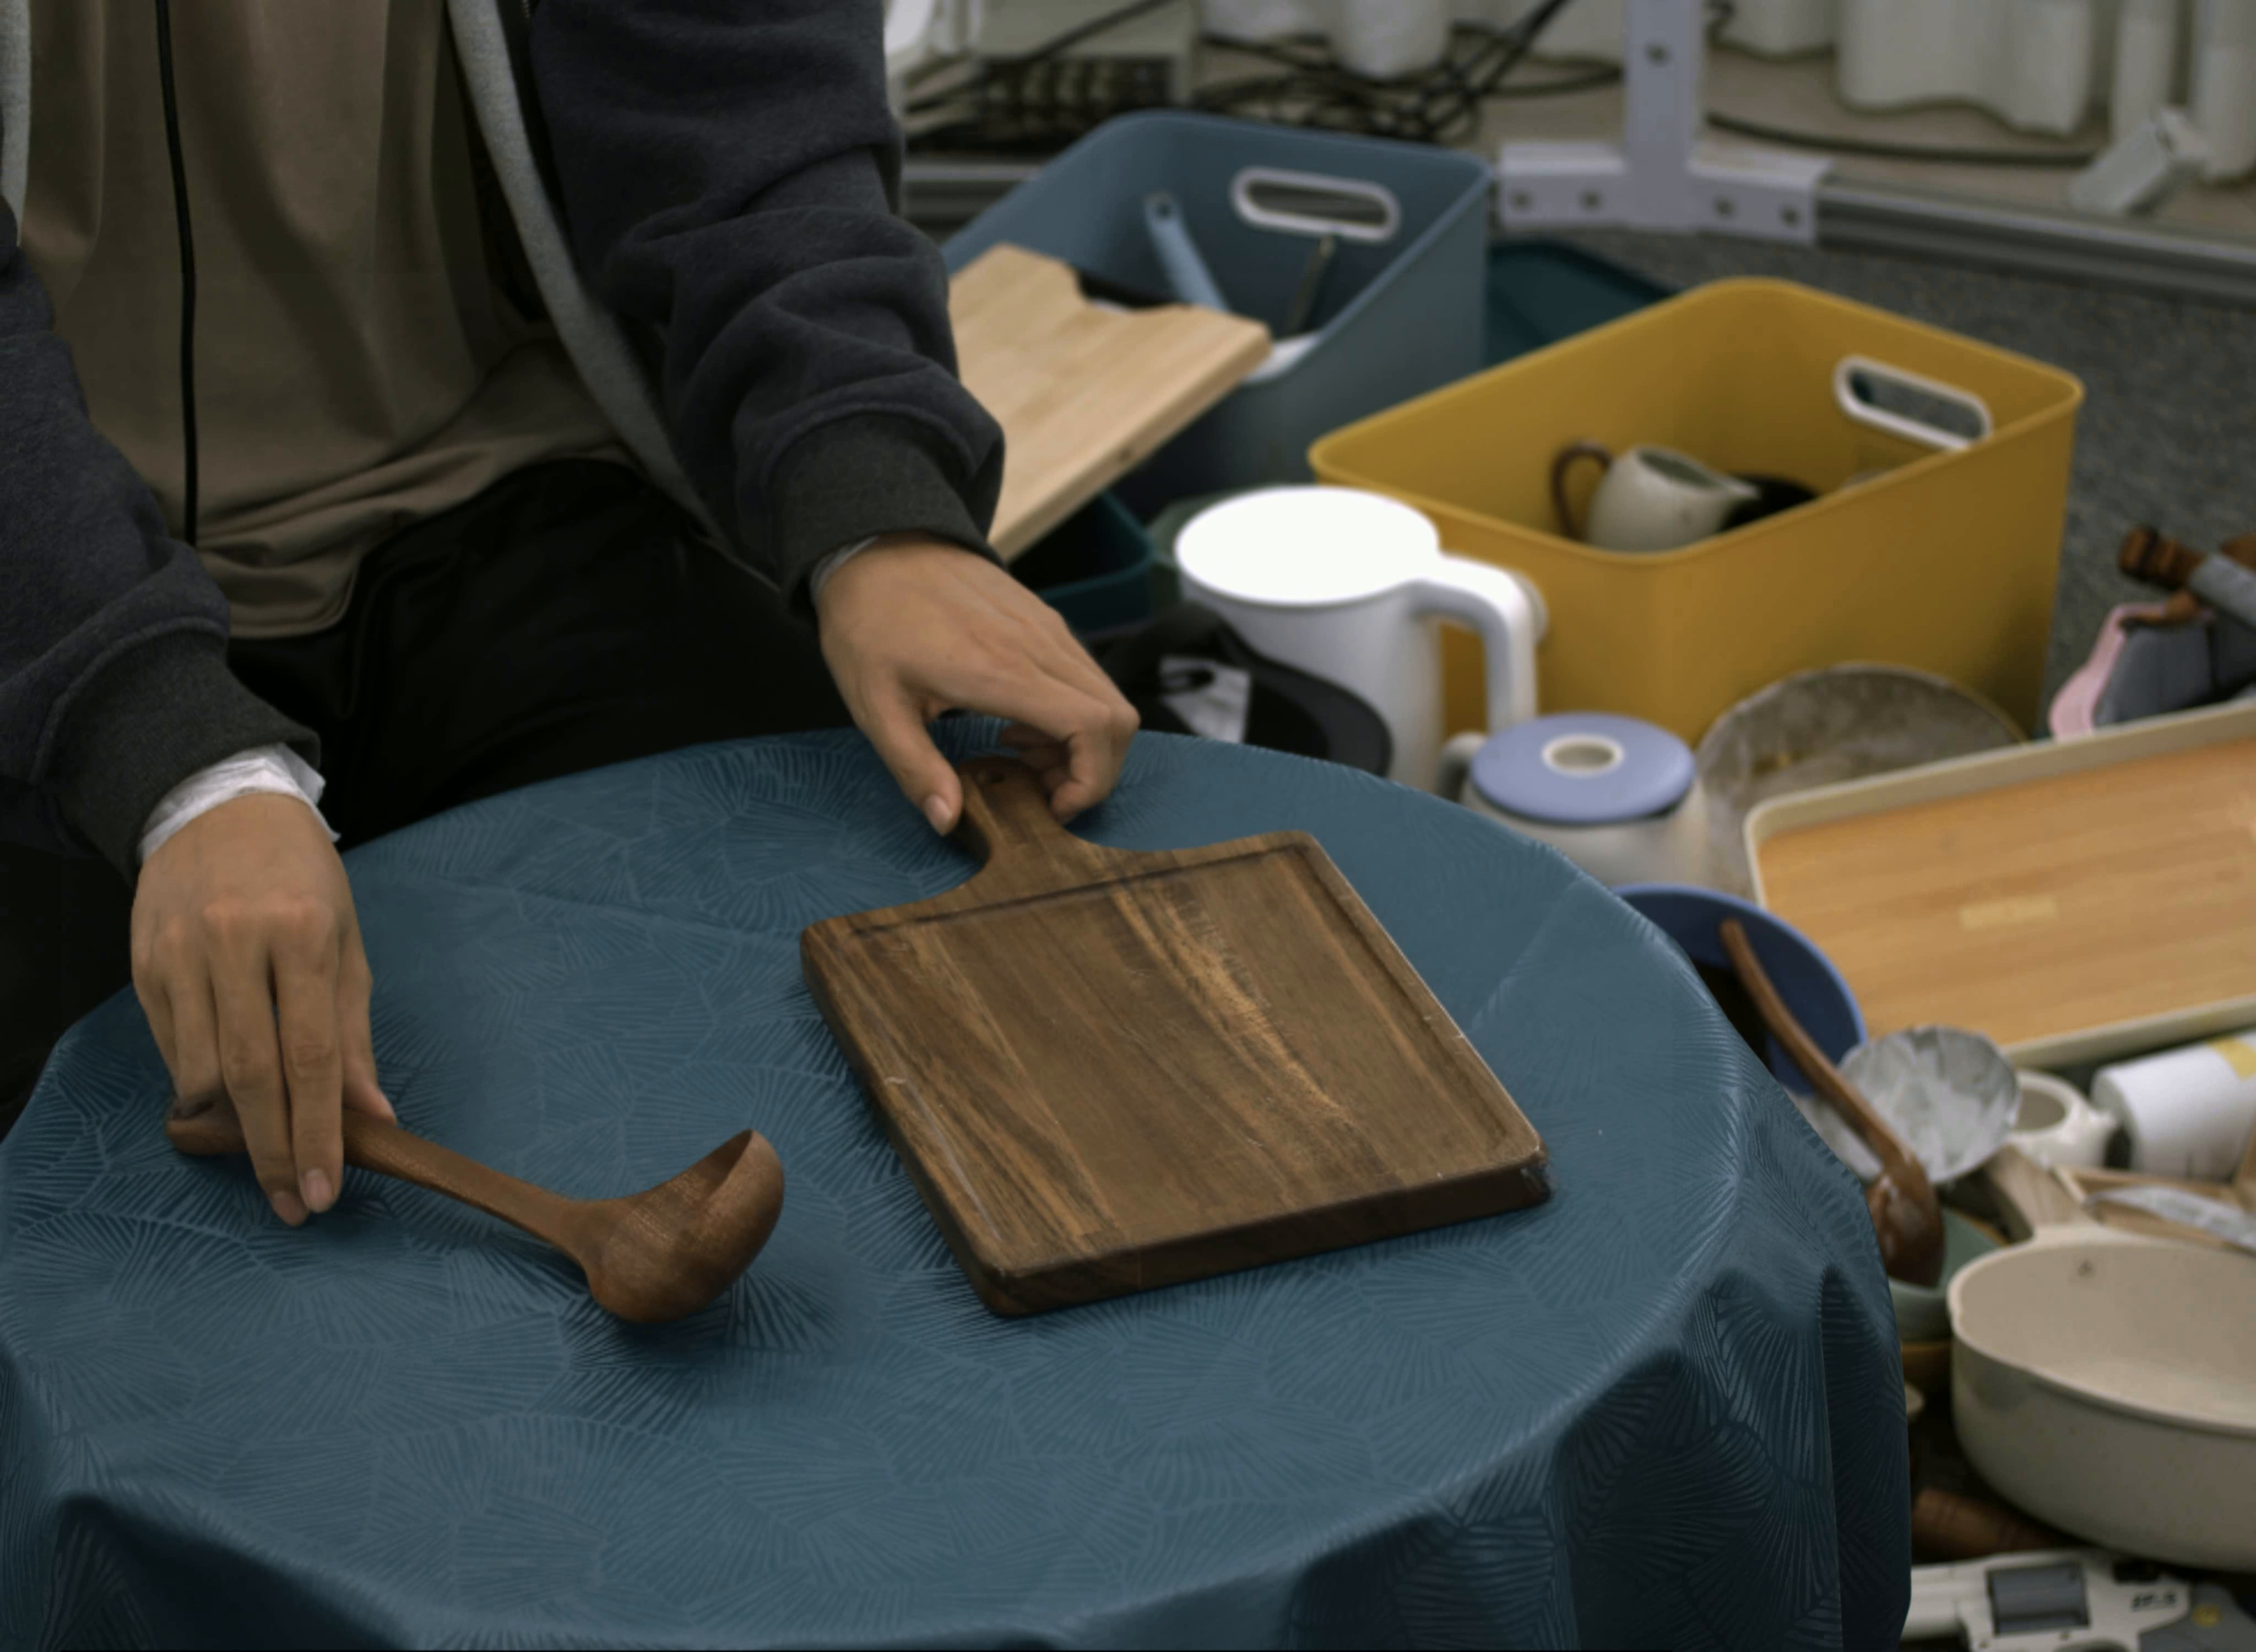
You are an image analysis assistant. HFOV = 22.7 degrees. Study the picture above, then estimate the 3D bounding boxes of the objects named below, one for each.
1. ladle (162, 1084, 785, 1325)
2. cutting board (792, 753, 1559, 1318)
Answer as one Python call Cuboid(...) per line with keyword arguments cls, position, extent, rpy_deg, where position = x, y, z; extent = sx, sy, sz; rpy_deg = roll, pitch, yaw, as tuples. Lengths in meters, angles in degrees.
Cuboid(cls="ladle", position=(-0.222, 0.108, 1.842), extent=(0.259, 0.064, 0.078), rpy_deg=(15, 42, 30))
Cuboid(cls="cutting board", position=(-0.004, 0.058, 1.961), extent=(0.201, 0.023, 0.355), rpy_deg=(-10, 28, -15))
